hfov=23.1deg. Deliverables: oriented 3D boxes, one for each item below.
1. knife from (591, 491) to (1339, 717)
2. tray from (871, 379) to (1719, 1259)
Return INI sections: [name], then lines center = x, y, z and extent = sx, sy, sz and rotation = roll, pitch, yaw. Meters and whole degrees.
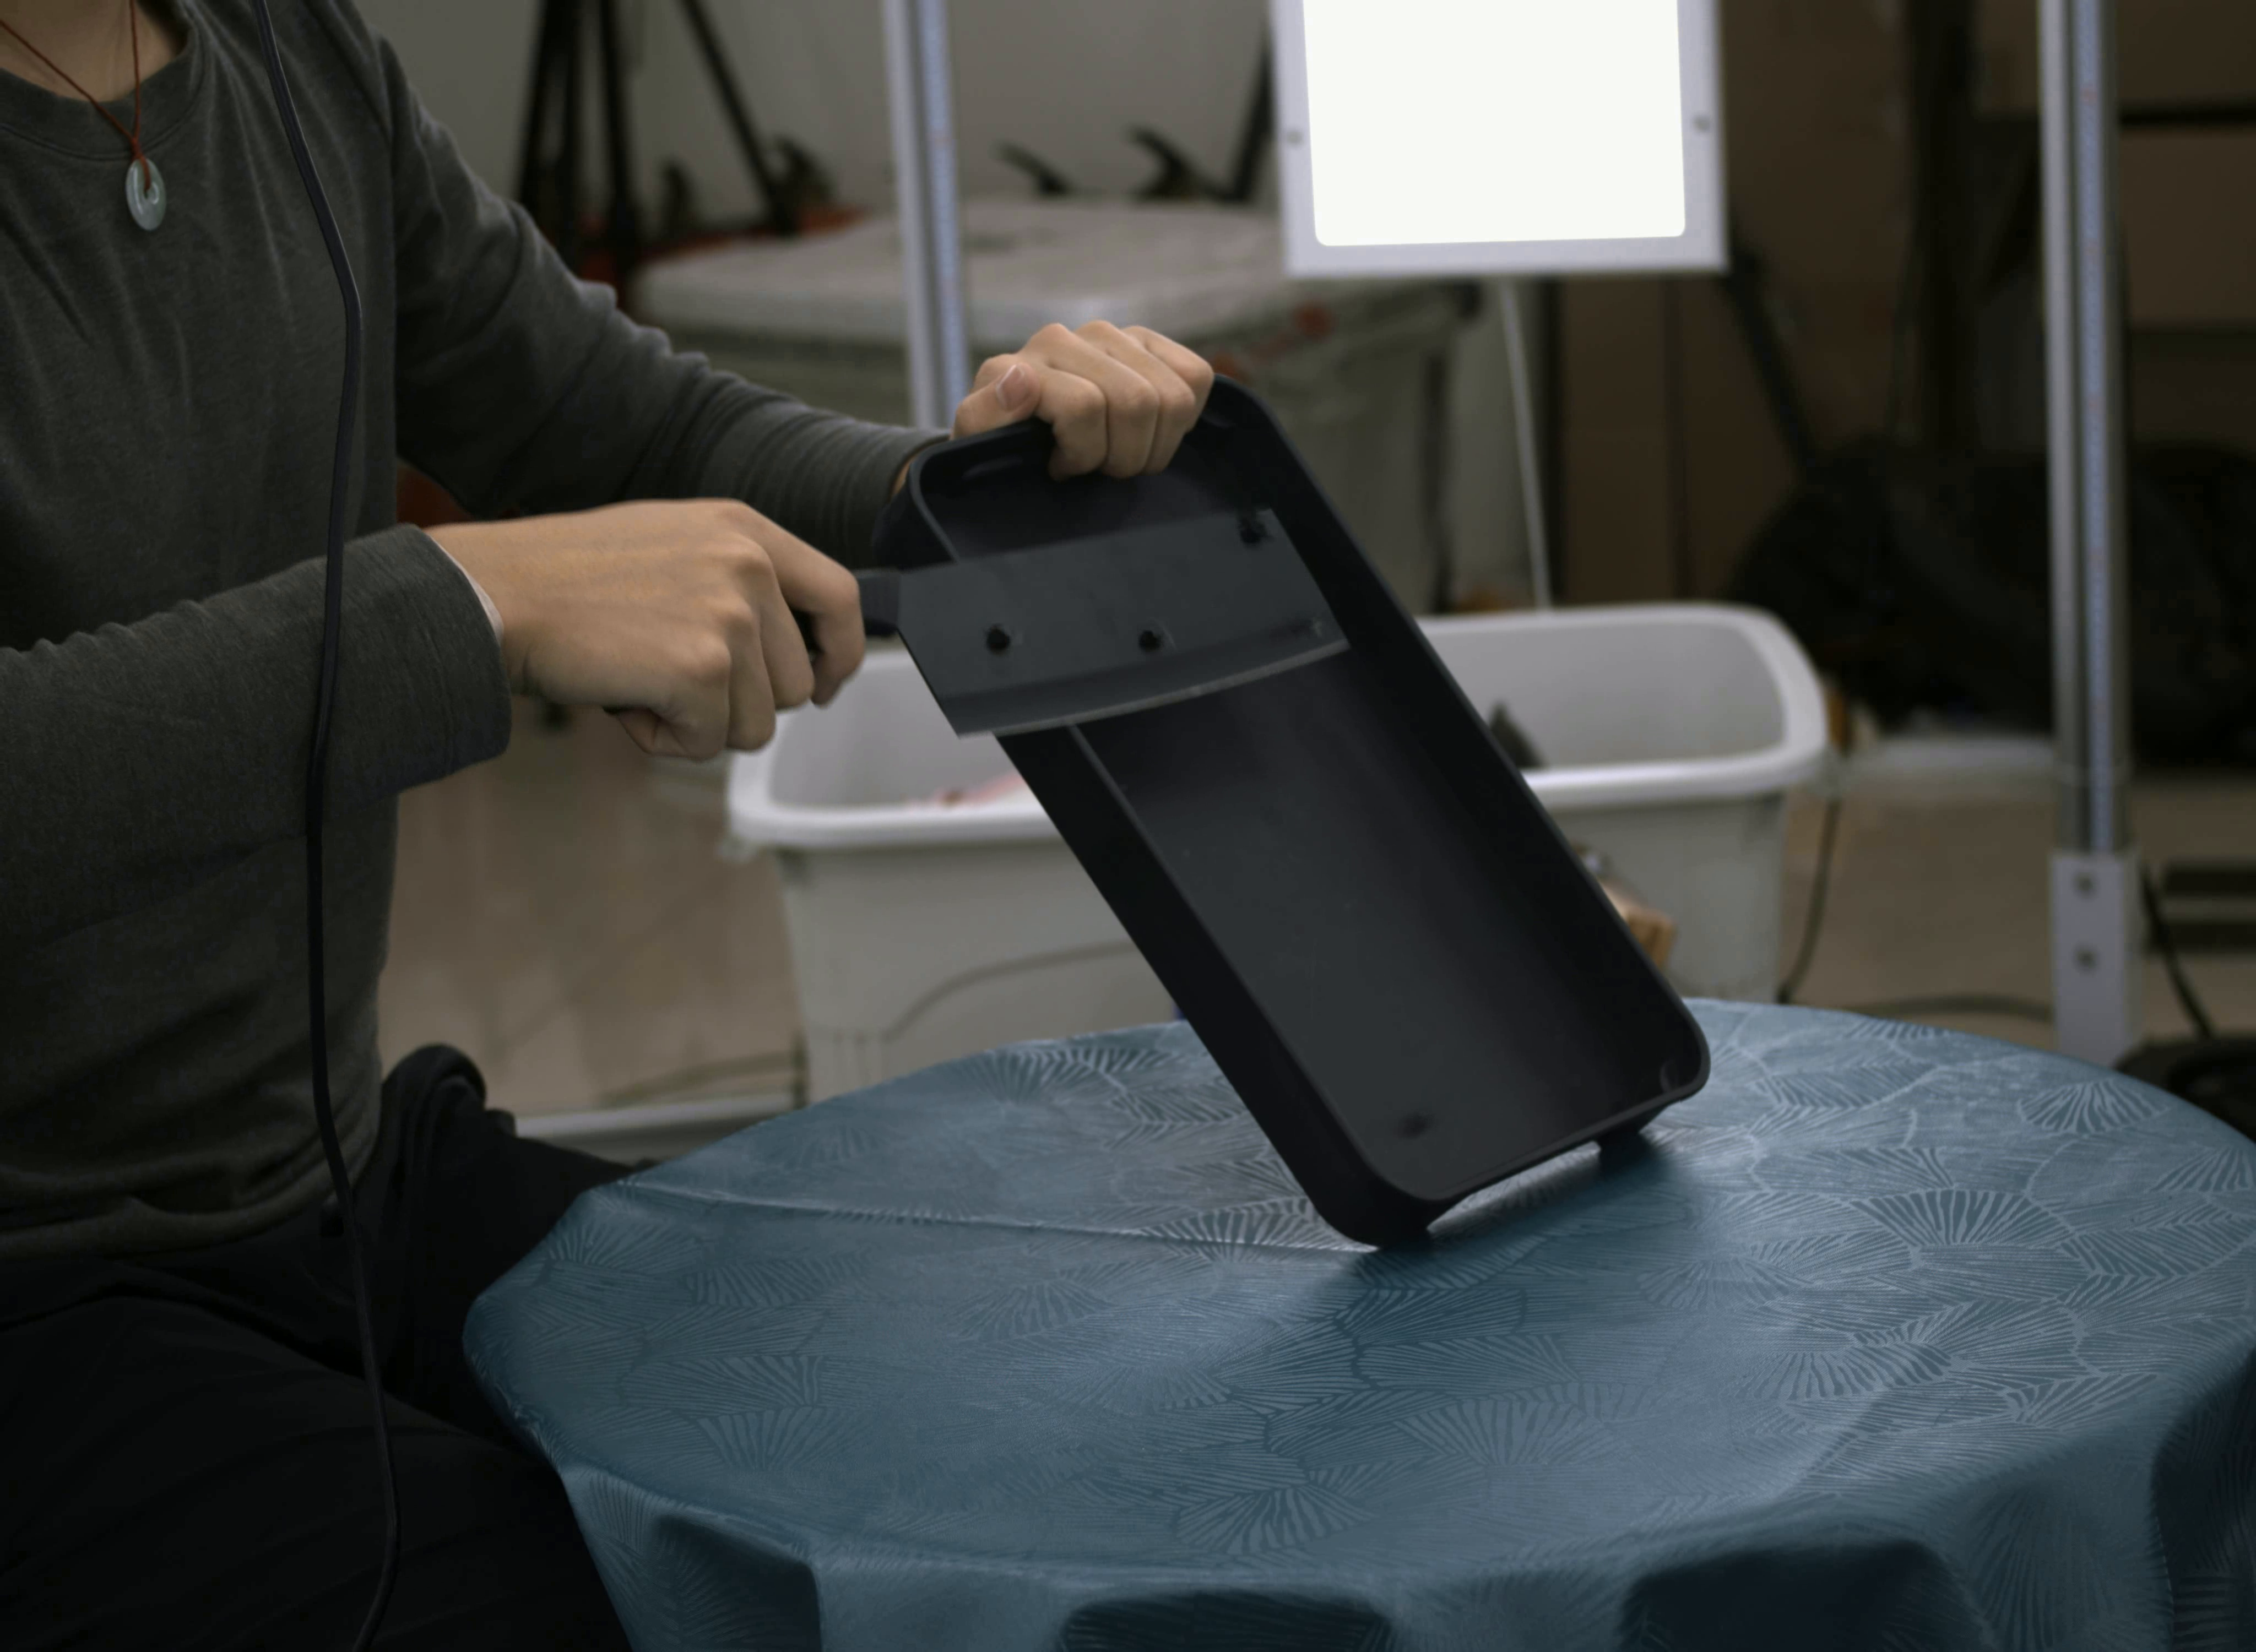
[knife]
center = -0.052, -0.069, 1.844
extent = 0.295, 0.081, 0.021
rotation = -8, -29, -36
[tray]
center = 0.058, -0.007, 1.897
extent = 0.179, 0.320, 0.038
rotation = -21, -20, -45
